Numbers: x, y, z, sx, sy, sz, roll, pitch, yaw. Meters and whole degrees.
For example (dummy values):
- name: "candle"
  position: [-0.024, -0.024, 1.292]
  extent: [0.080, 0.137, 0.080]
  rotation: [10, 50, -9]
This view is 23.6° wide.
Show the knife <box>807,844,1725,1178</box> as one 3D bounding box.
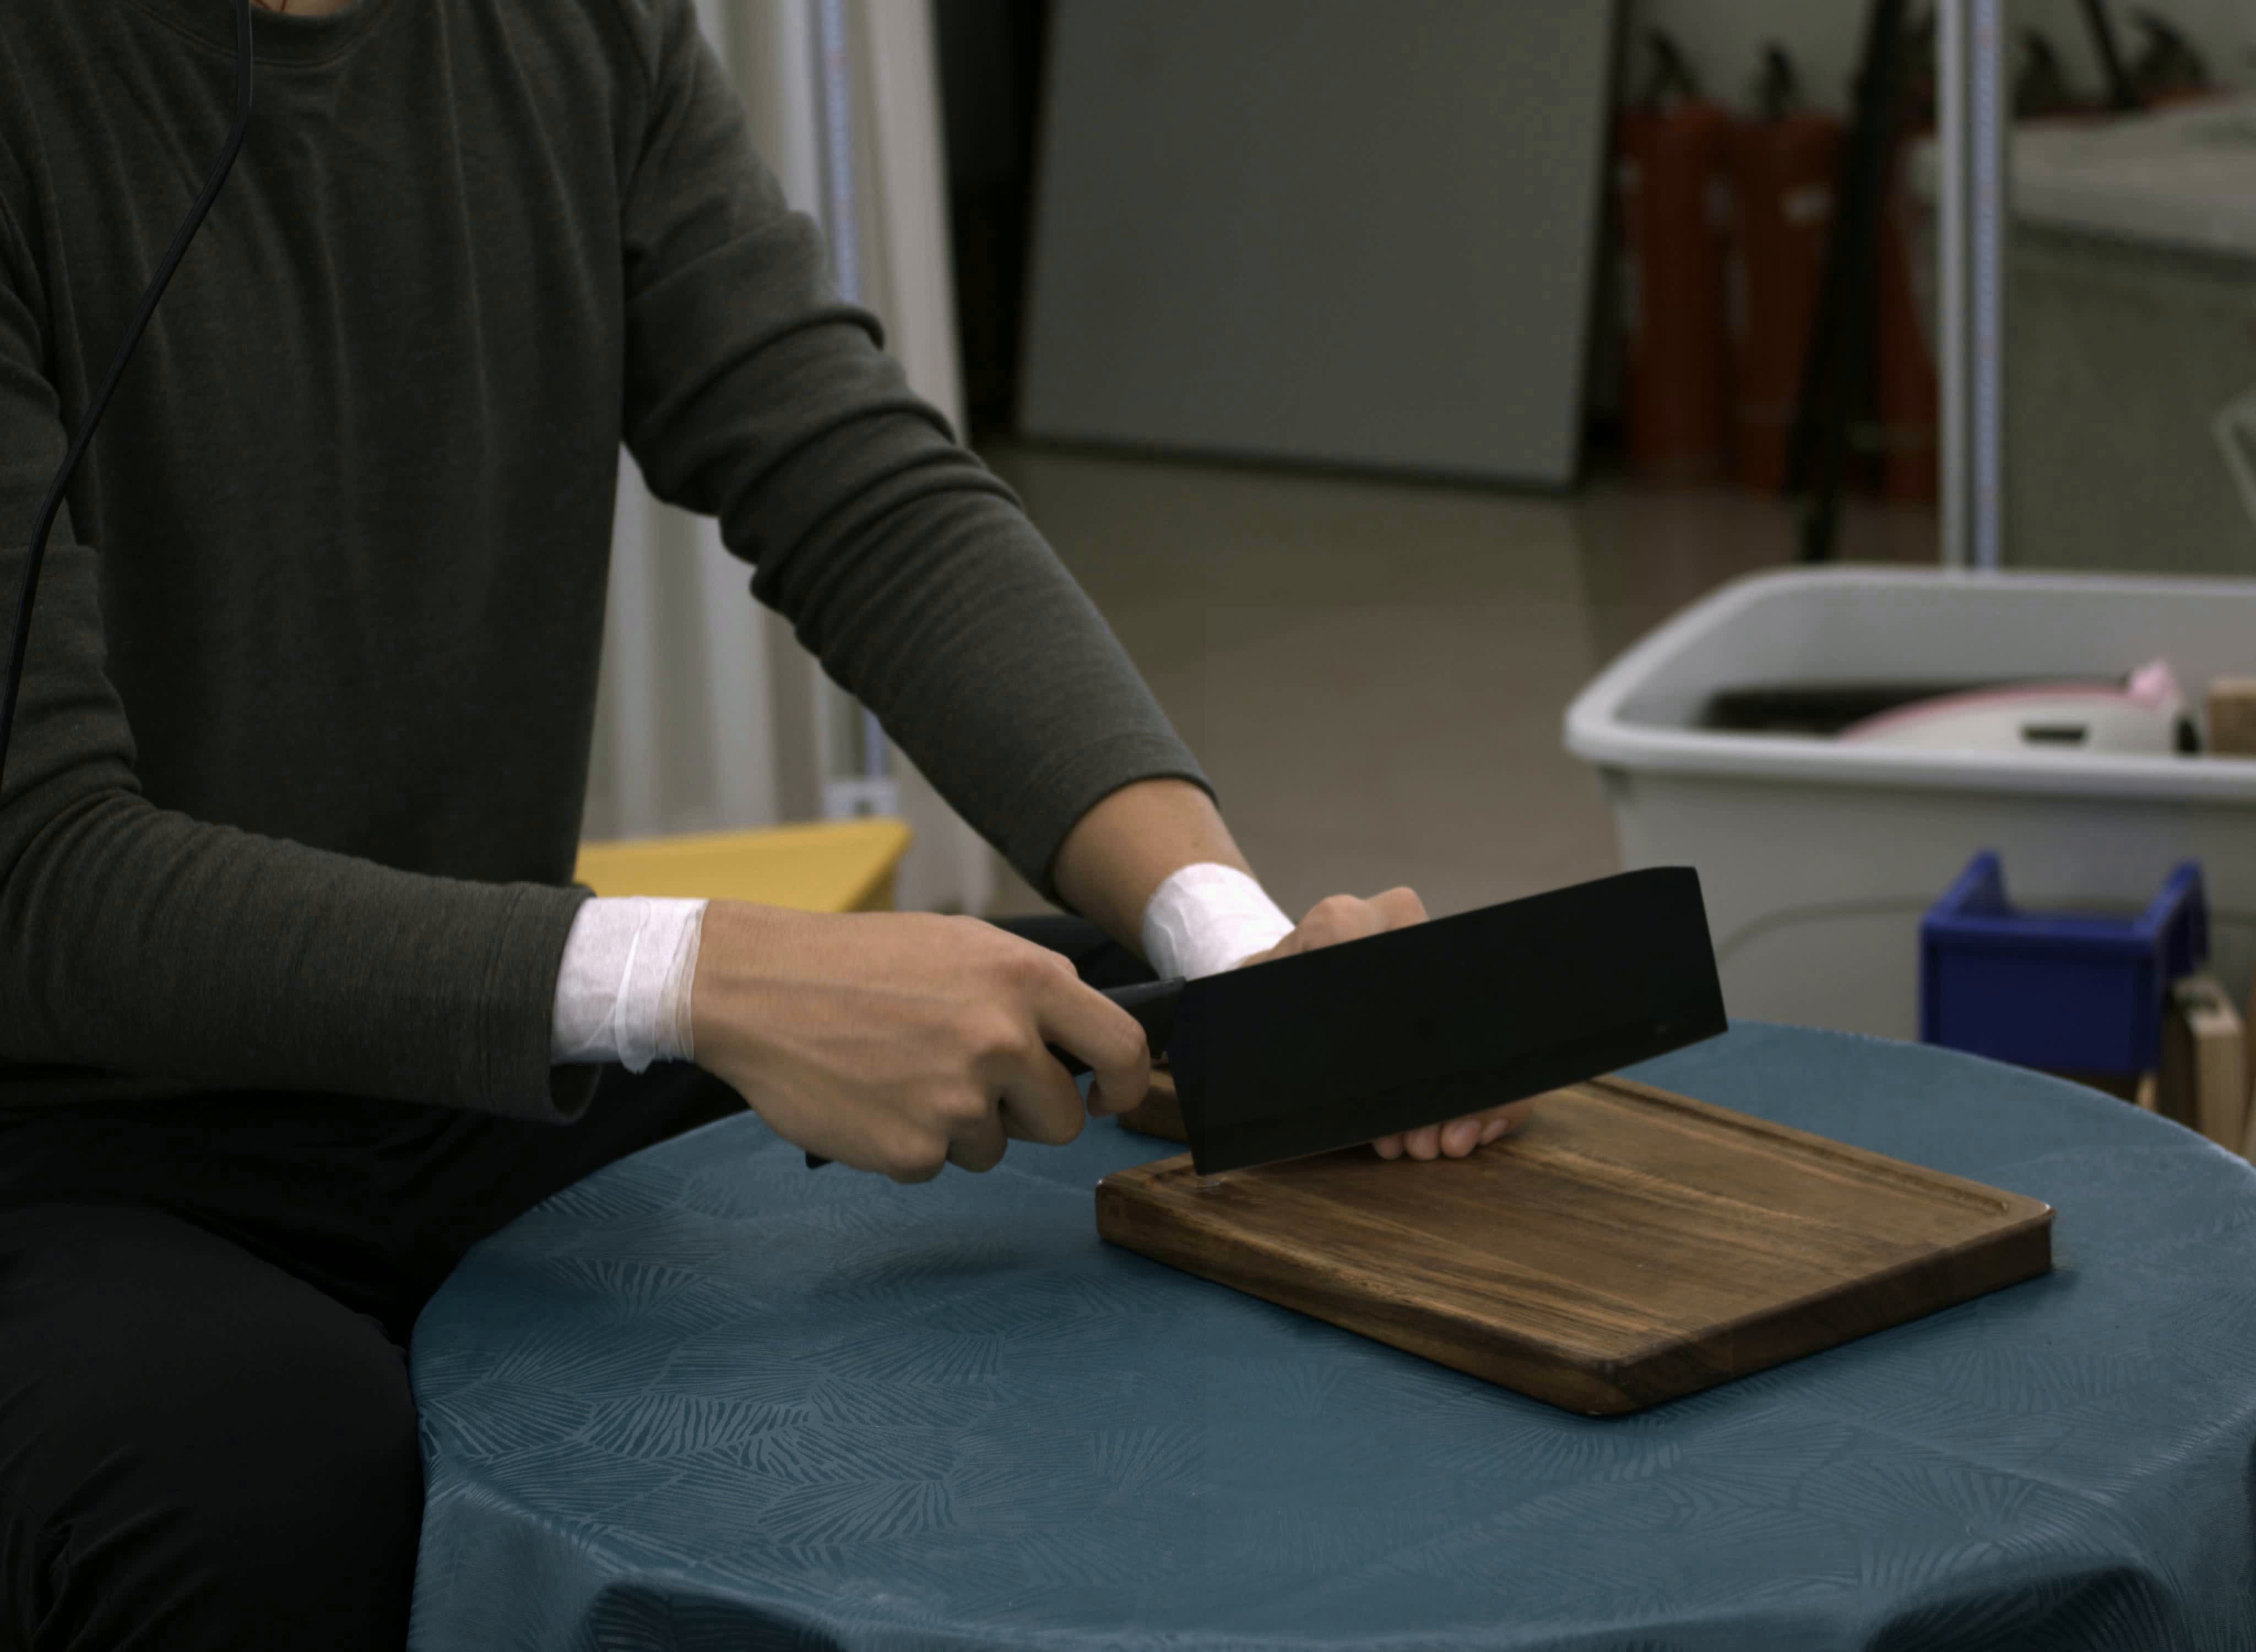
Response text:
- name: "knife"
  position: [0.043, 0.070, 1.721]
  extent: [0.298, 0.082, 0.021]
  rotation: [-11, 12, -1]

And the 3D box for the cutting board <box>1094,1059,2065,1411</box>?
- name: "cutting board"
  position: [0.108, 0.116, 1.720]
  extent: [0.196, 0.023, 0.356]
  rotation: [-13, 16, -35]
